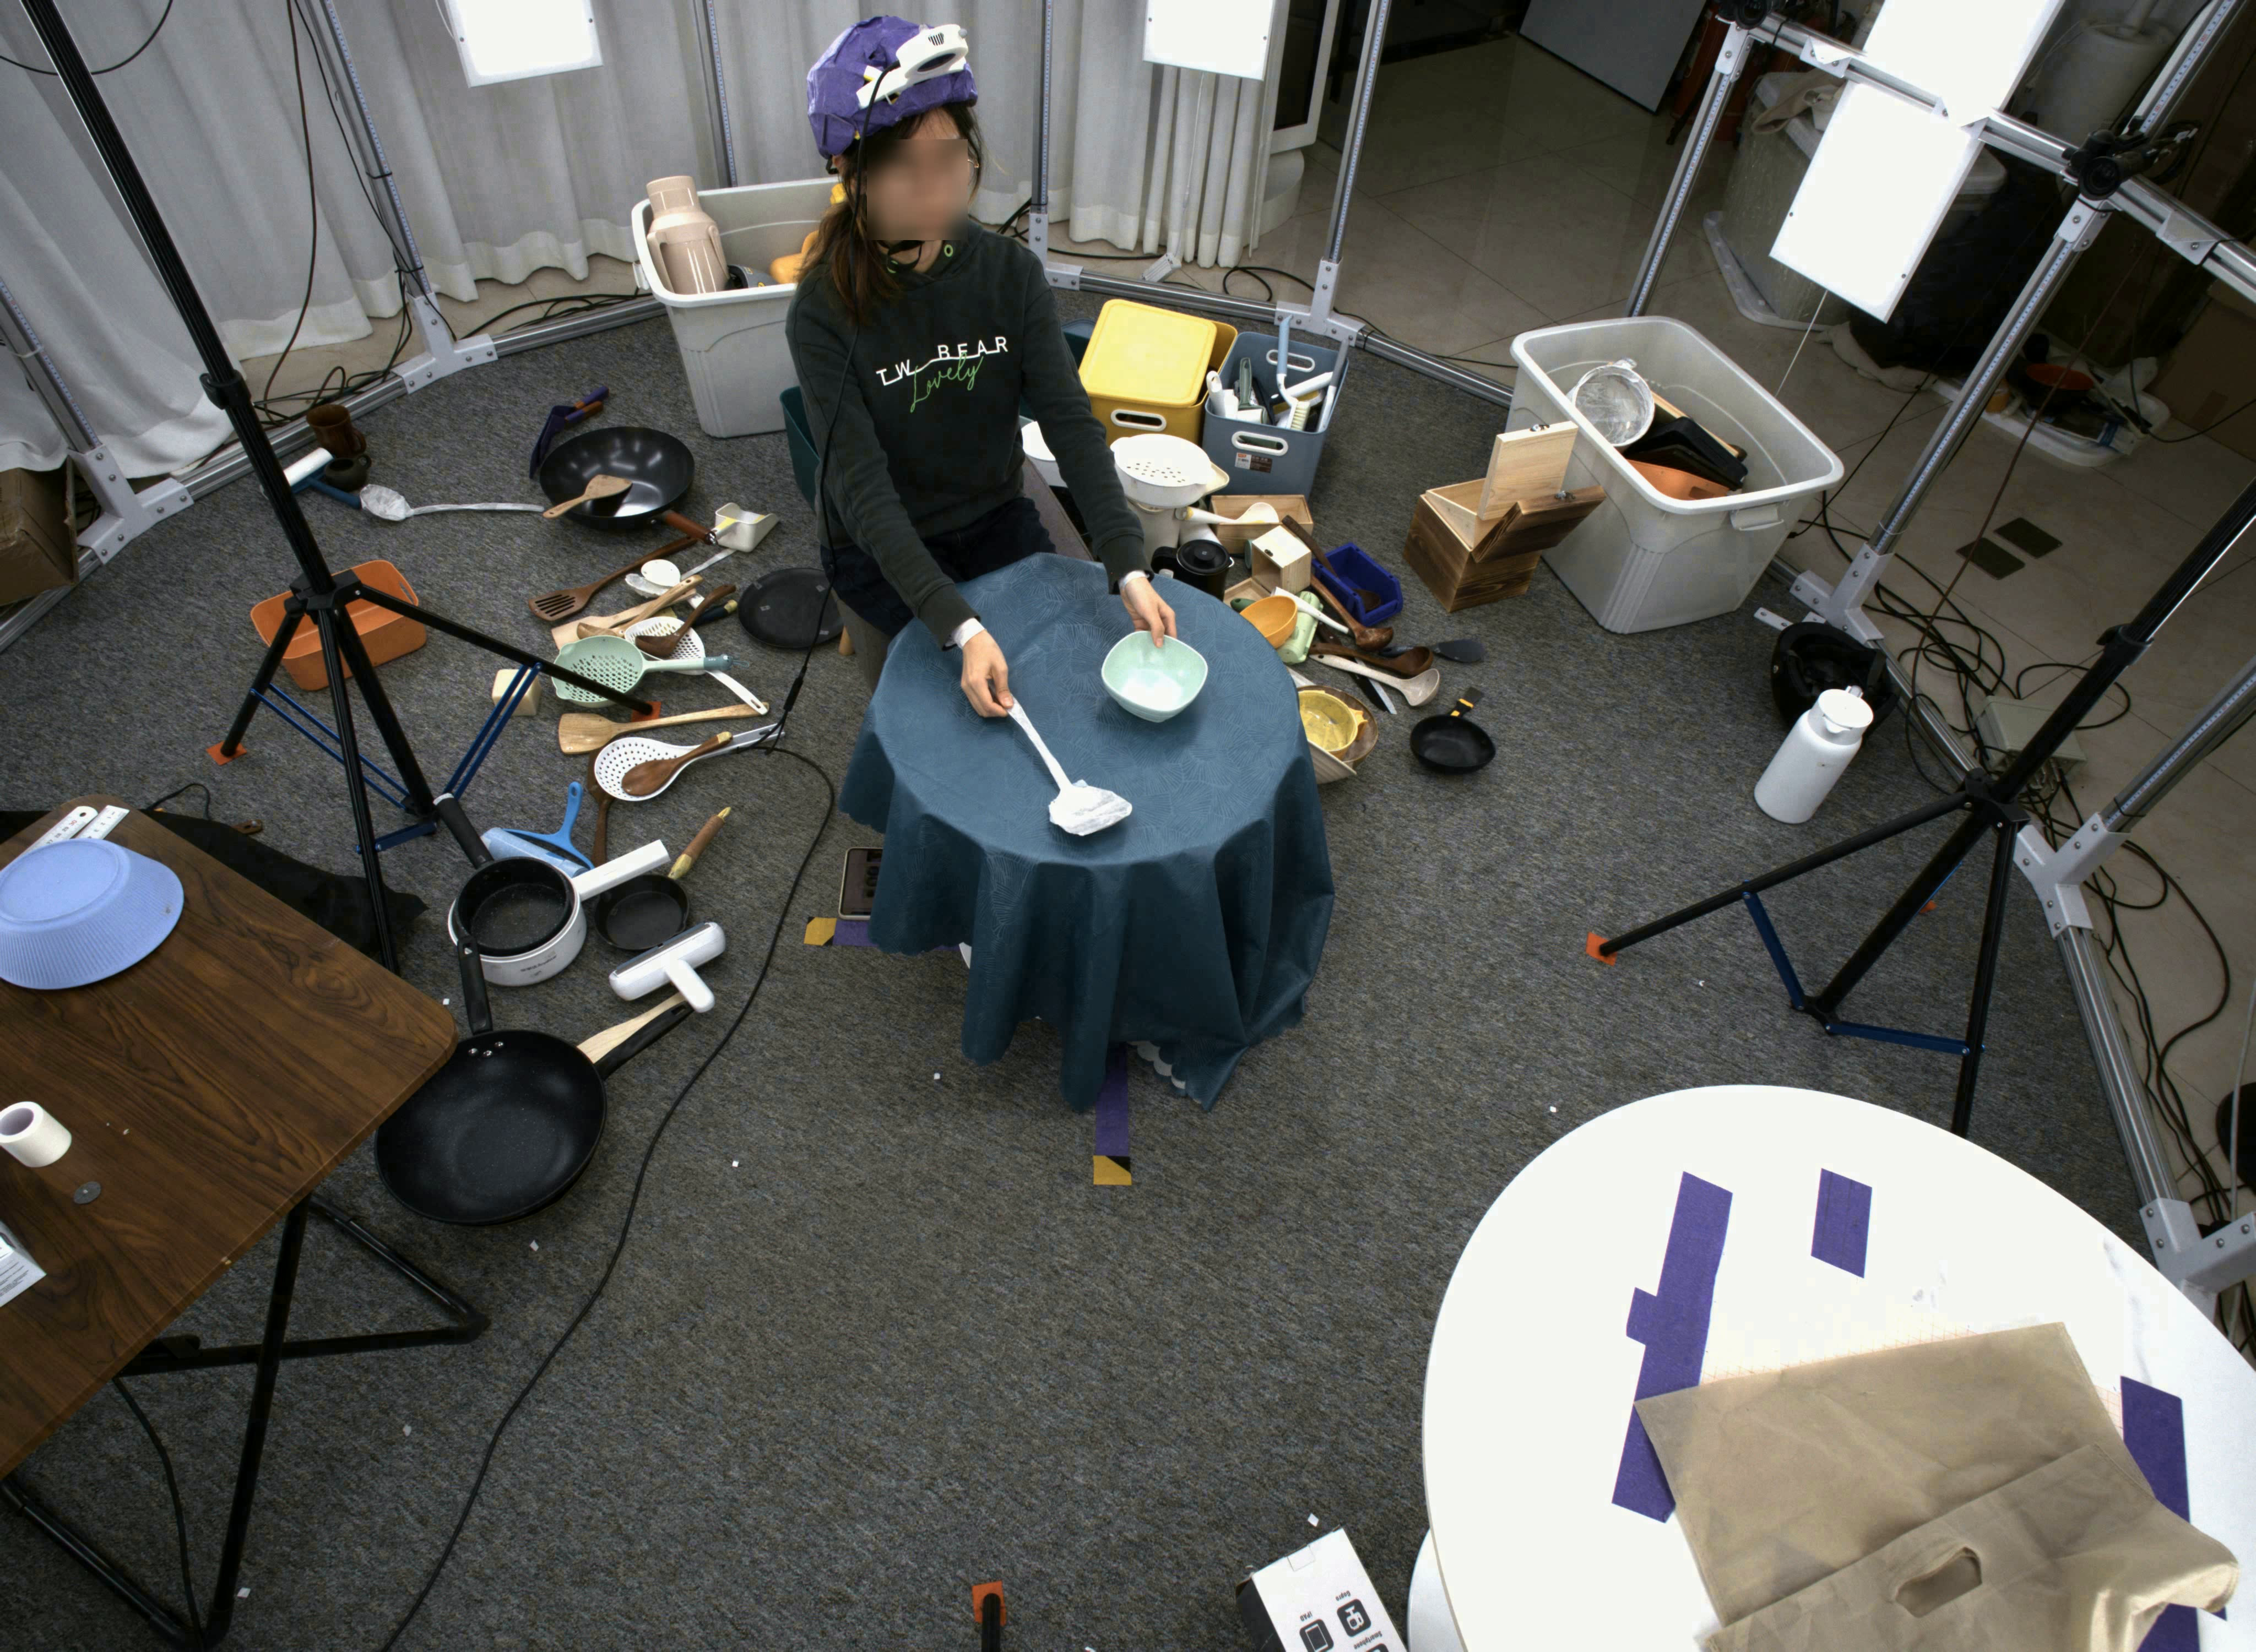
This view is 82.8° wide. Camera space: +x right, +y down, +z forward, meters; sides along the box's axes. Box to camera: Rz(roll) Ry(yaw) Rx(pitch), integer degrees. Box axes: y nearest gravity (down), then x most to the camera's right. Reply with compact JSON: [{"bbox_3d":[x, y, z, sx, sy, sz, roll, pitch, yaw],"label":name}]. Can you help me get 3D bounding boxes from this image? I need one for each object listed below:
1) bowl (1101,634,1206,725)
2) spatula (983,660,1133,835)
[{"bbox_3d":[0.033,-0.199,1.822,0.151,0.057,0.155,4,51,-5],"label":"bowl"},{"bbox_3d":[-0.117,-0.117,1.745,0.099,0.044,0.372,-23,57,-20],"label":"spatula"}]
